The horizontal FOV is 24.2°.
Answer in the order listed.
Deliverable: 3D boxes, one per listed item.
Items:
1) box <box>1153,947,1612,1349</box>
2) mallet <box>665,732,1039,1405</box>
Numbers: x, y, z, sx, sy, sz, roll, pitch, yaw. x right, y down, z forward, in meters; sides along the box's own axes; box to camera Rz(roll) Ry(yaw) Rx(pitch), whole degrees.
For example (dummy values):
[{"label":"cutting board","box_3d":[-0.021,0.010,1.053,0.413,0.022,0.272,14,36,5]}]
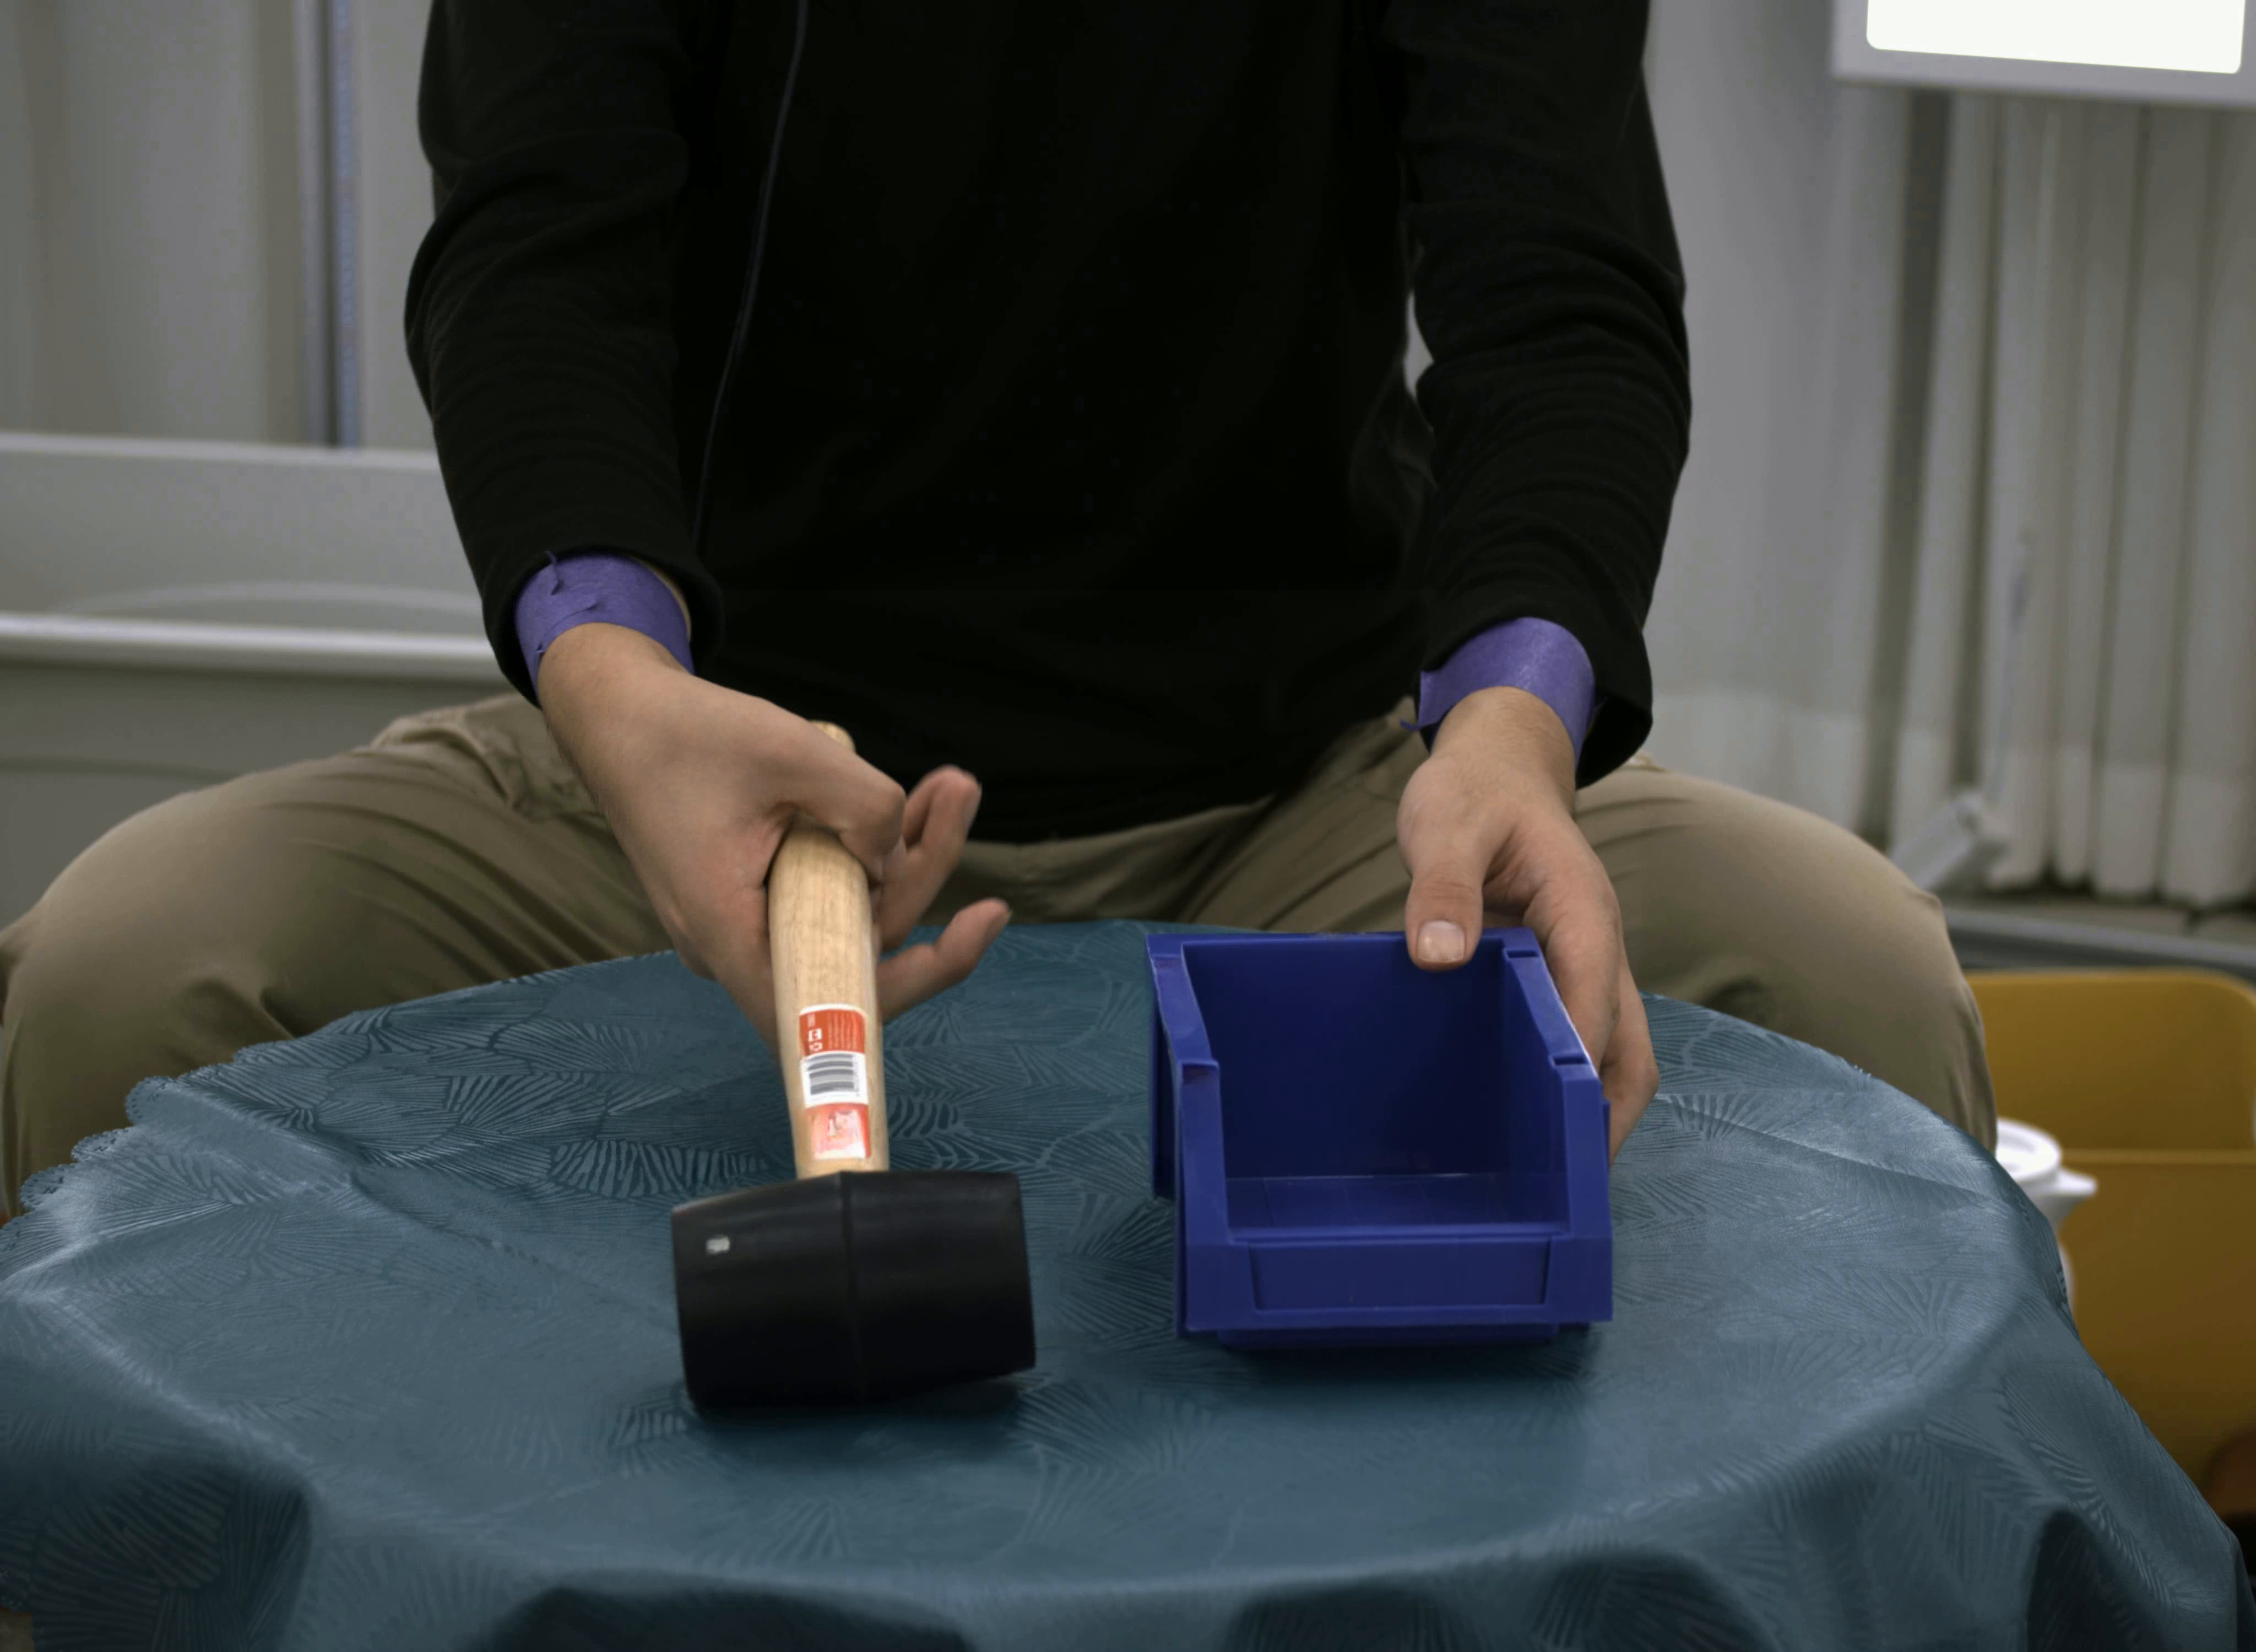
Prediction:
[{"label":"box","box_3d":[0.073,0.096,1.532,0.124,0.082,0.178,0,12,-3]},{"label":"mallet","box_3d":[-0.088,0.055,1.562,0.102,0.065,0.335,-1,32,-5]}]
